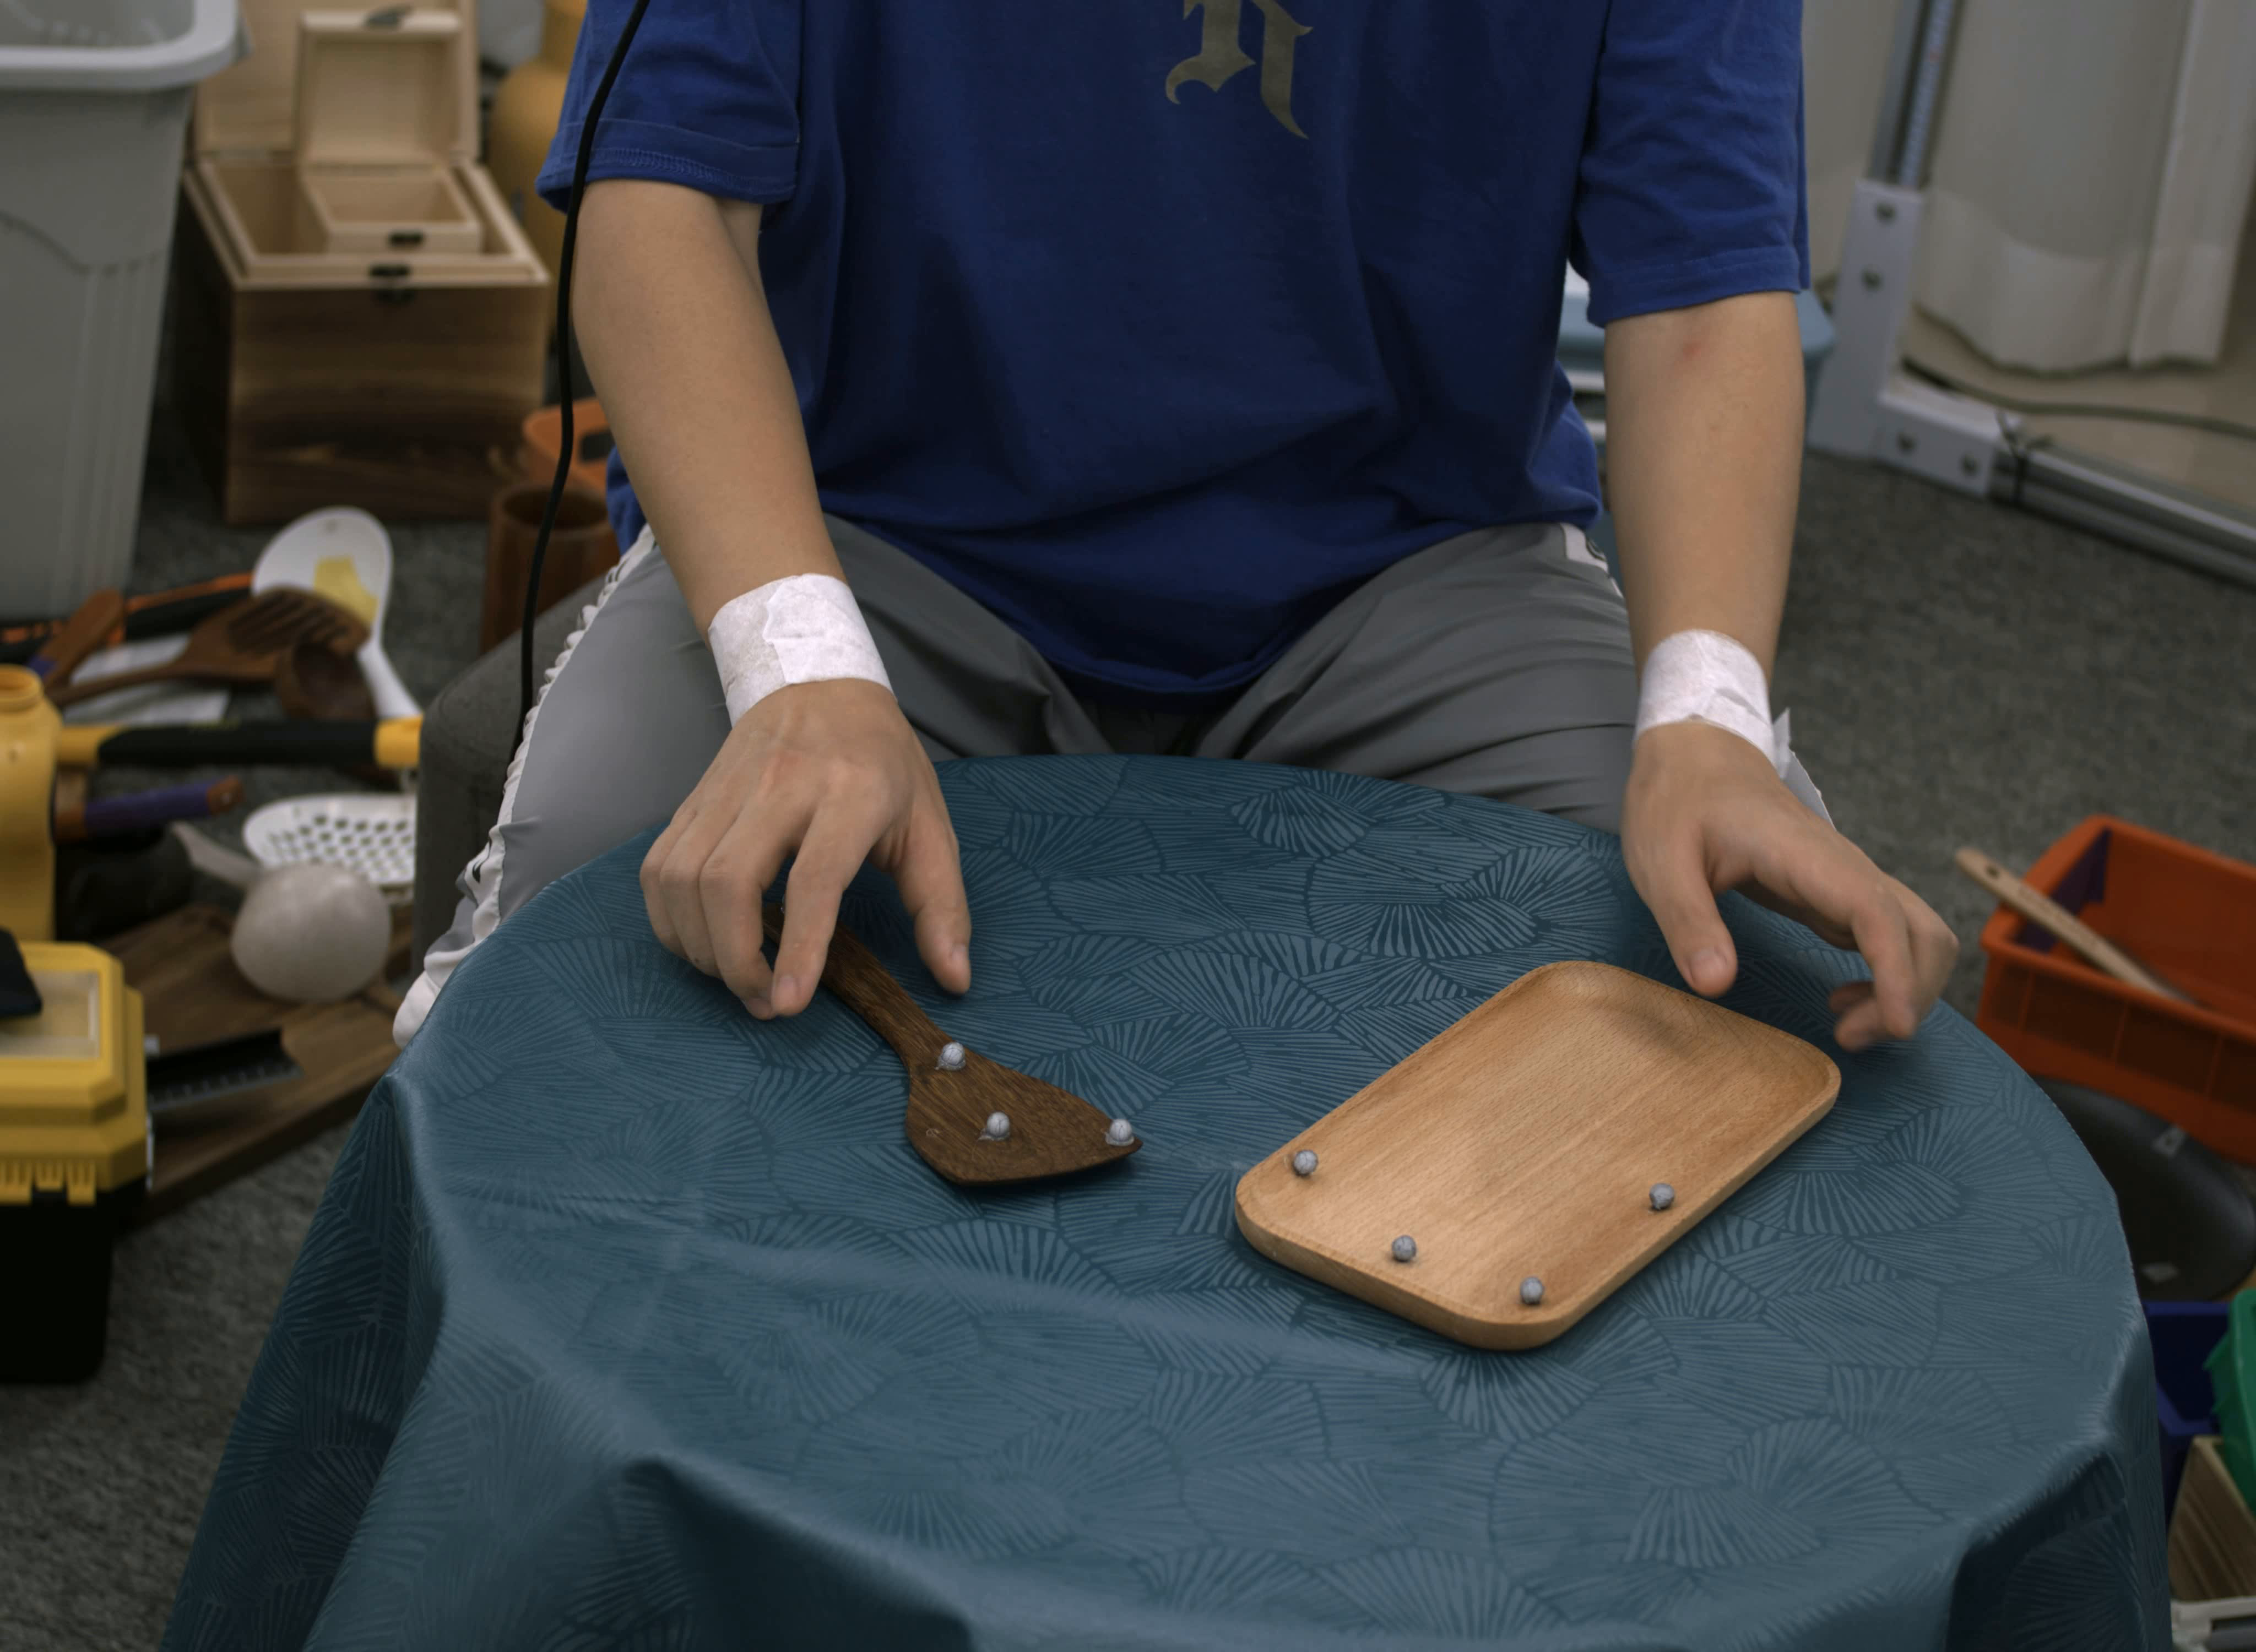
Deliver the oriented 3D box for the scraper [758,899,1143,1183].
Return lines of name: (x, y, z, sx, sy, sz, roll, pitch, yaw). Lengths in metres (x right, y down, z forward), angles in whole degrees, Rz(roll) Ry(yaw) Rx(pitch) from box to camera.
scraper: (-0.074, 0.074, 1.874, 0.075, 0.011, 0.213, -8, 29, -29)

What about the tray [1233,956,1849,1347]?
tray: (0.146, 0.110, 1.844, 0.131, 0.023, 0.250, 25, 31, 27)
